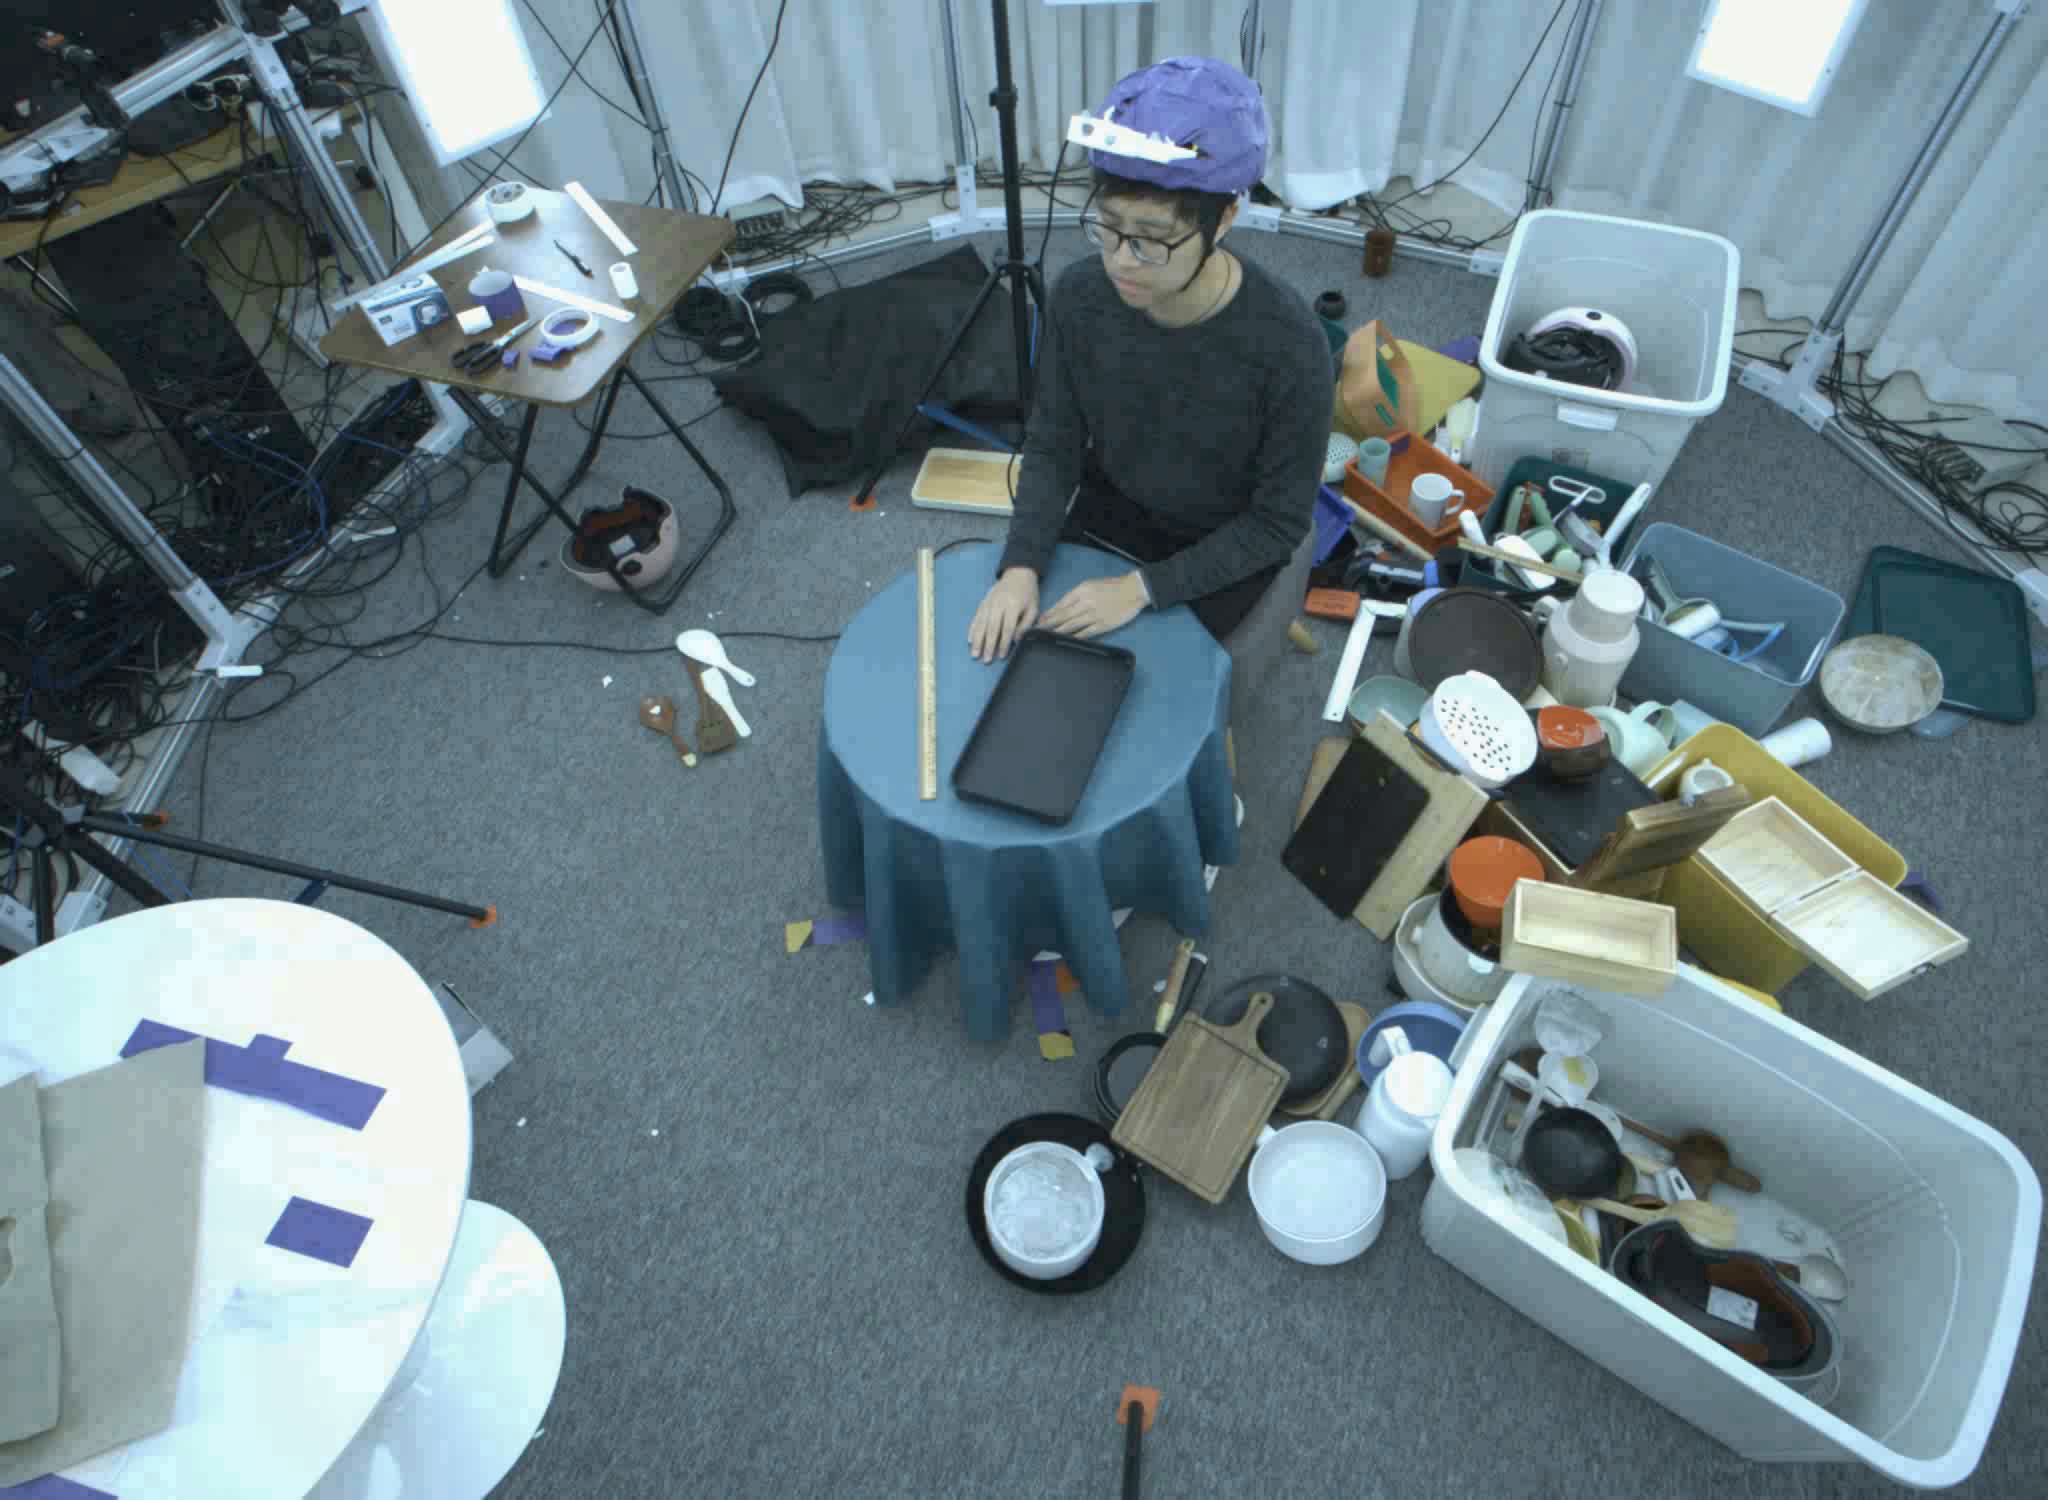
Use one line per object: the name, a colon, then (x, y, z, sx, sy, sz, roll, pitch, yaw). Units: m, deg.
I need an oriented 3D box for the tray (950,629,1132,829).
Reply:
tray: (0.029, -0.036, 1.791, 0.182, 0.037, 0.317, 15, 56, 12)

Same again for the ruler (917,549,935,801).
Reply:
ruler: (-0.151, -0.131, 1.882, 0.027, 0.006, 0.494, -2, 55, -2)
